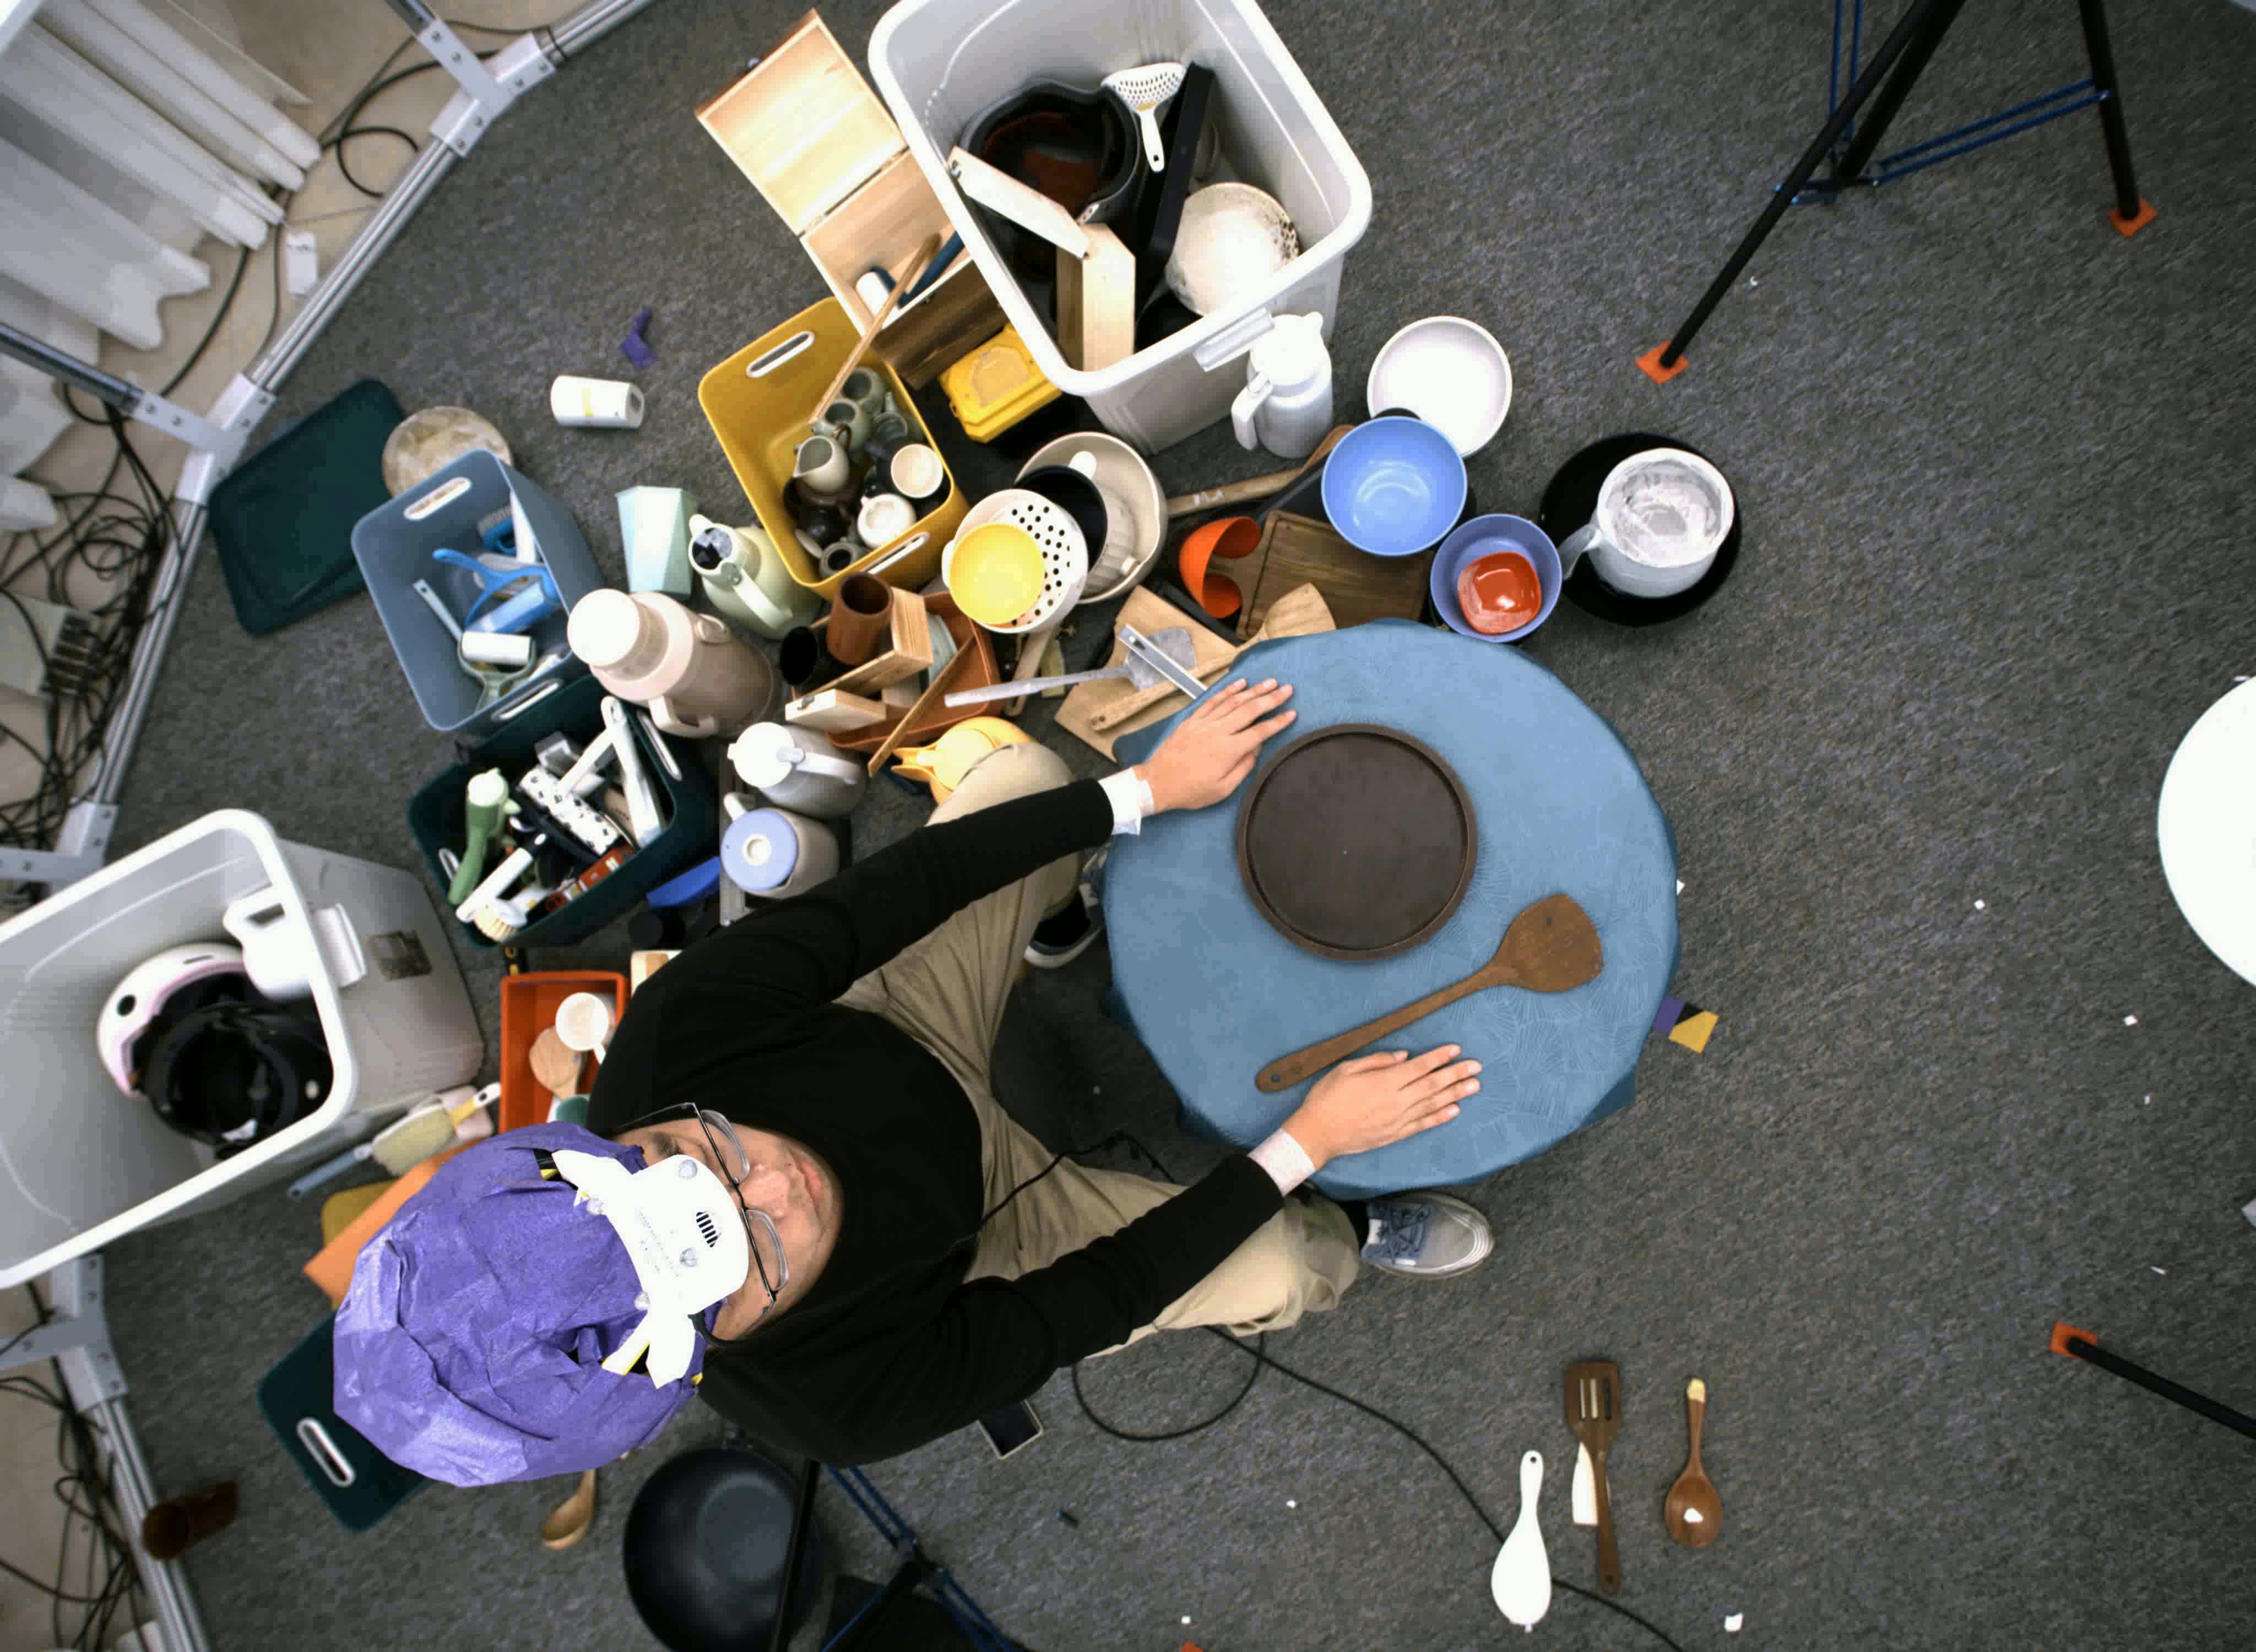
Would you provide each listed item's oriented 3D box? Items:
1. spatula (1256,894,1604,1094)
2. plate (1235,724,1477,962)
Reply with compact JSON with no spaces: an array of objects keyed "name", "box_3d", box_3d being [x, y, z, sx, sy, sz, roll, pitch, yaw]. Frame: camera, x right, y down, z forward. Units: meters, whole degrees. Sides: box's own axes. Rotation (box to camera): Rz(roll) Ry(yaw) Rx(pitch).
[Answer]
[{"name":"spatula","box_3d":[0.307,0.189,1.439,0.388,0.016,0.095,-27,82,8]},{"name":"plate","box_3d":[0.240,0.016,1.458,0.256,0.029,0.254,-1,87,9]}]
